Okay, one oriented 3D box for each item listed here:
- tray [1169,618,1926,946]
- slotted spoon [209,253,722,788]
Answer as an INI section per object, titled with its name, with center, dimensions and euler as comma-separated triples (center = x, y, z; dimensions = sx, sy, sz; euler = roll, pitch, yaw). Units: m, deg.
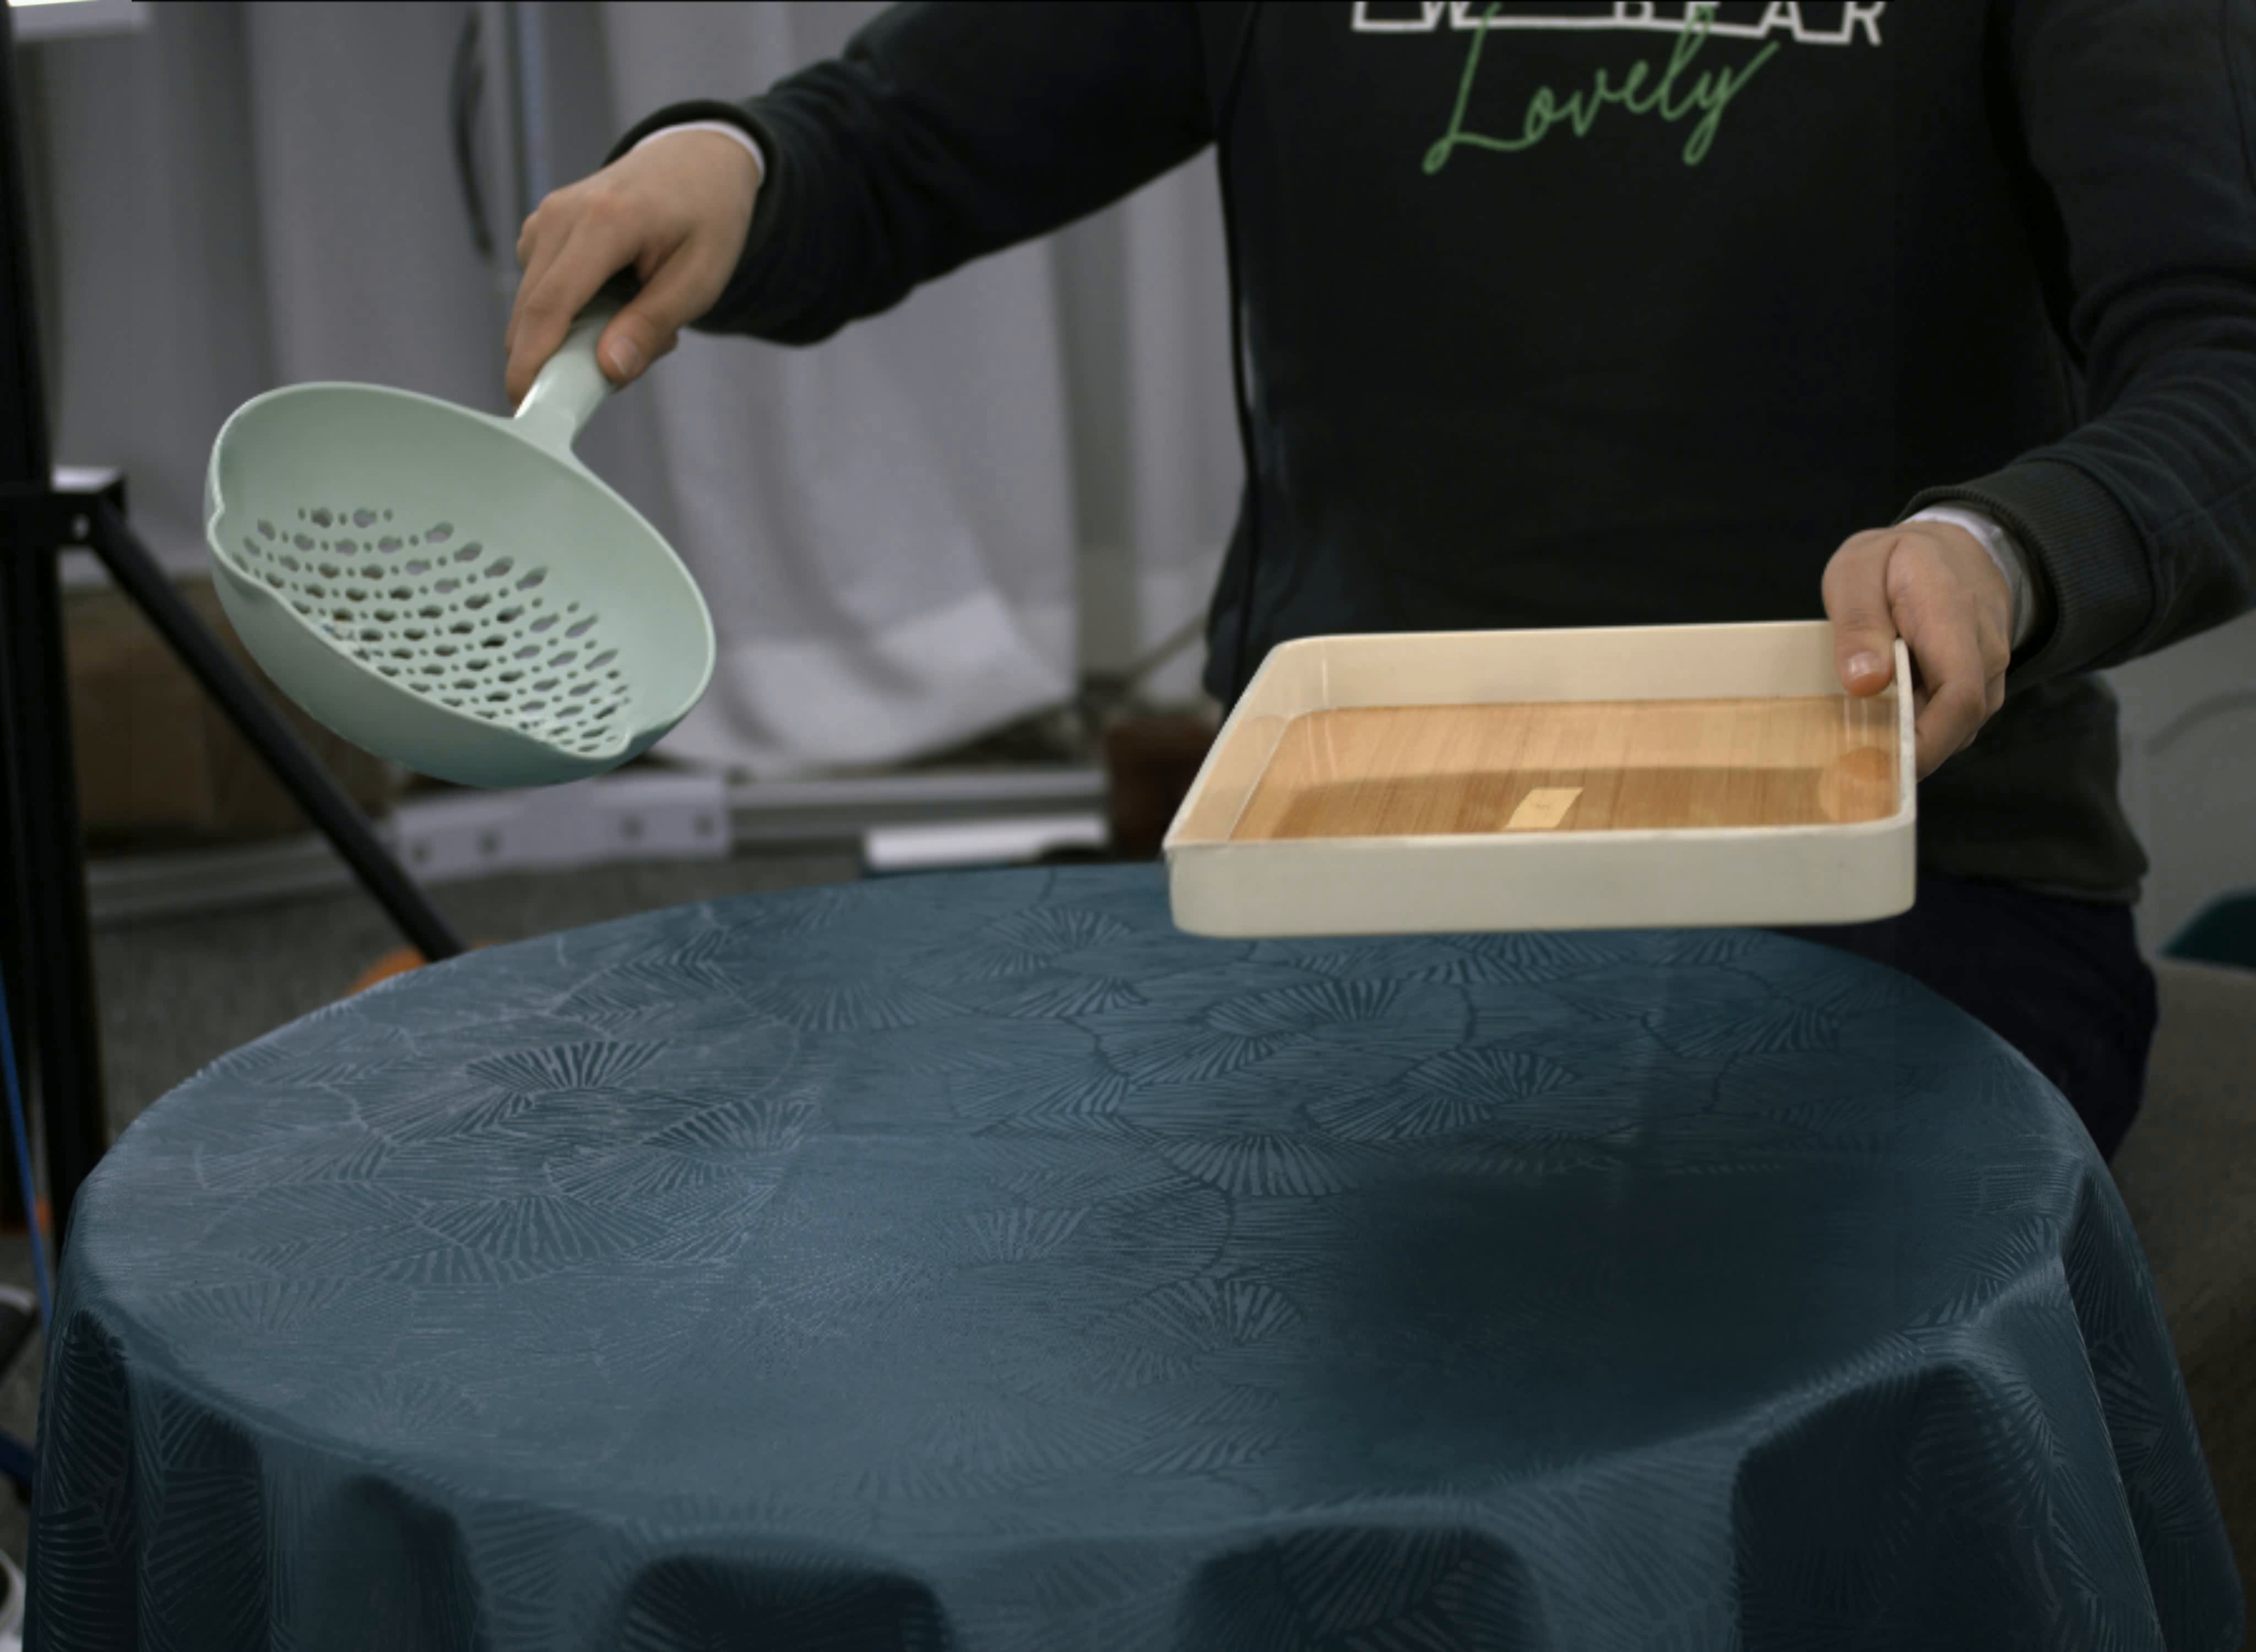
[tray]
center = 0.121, -0.014, 1.455
dimensions = 0.192, 0.027, 0.299
euler = -2, 12, 9
[slotted spoon]
center = -0.193, -0.119, 1.739
dimensions = 0.168, 0.076, 0.358
euler = 29, 36, -5
